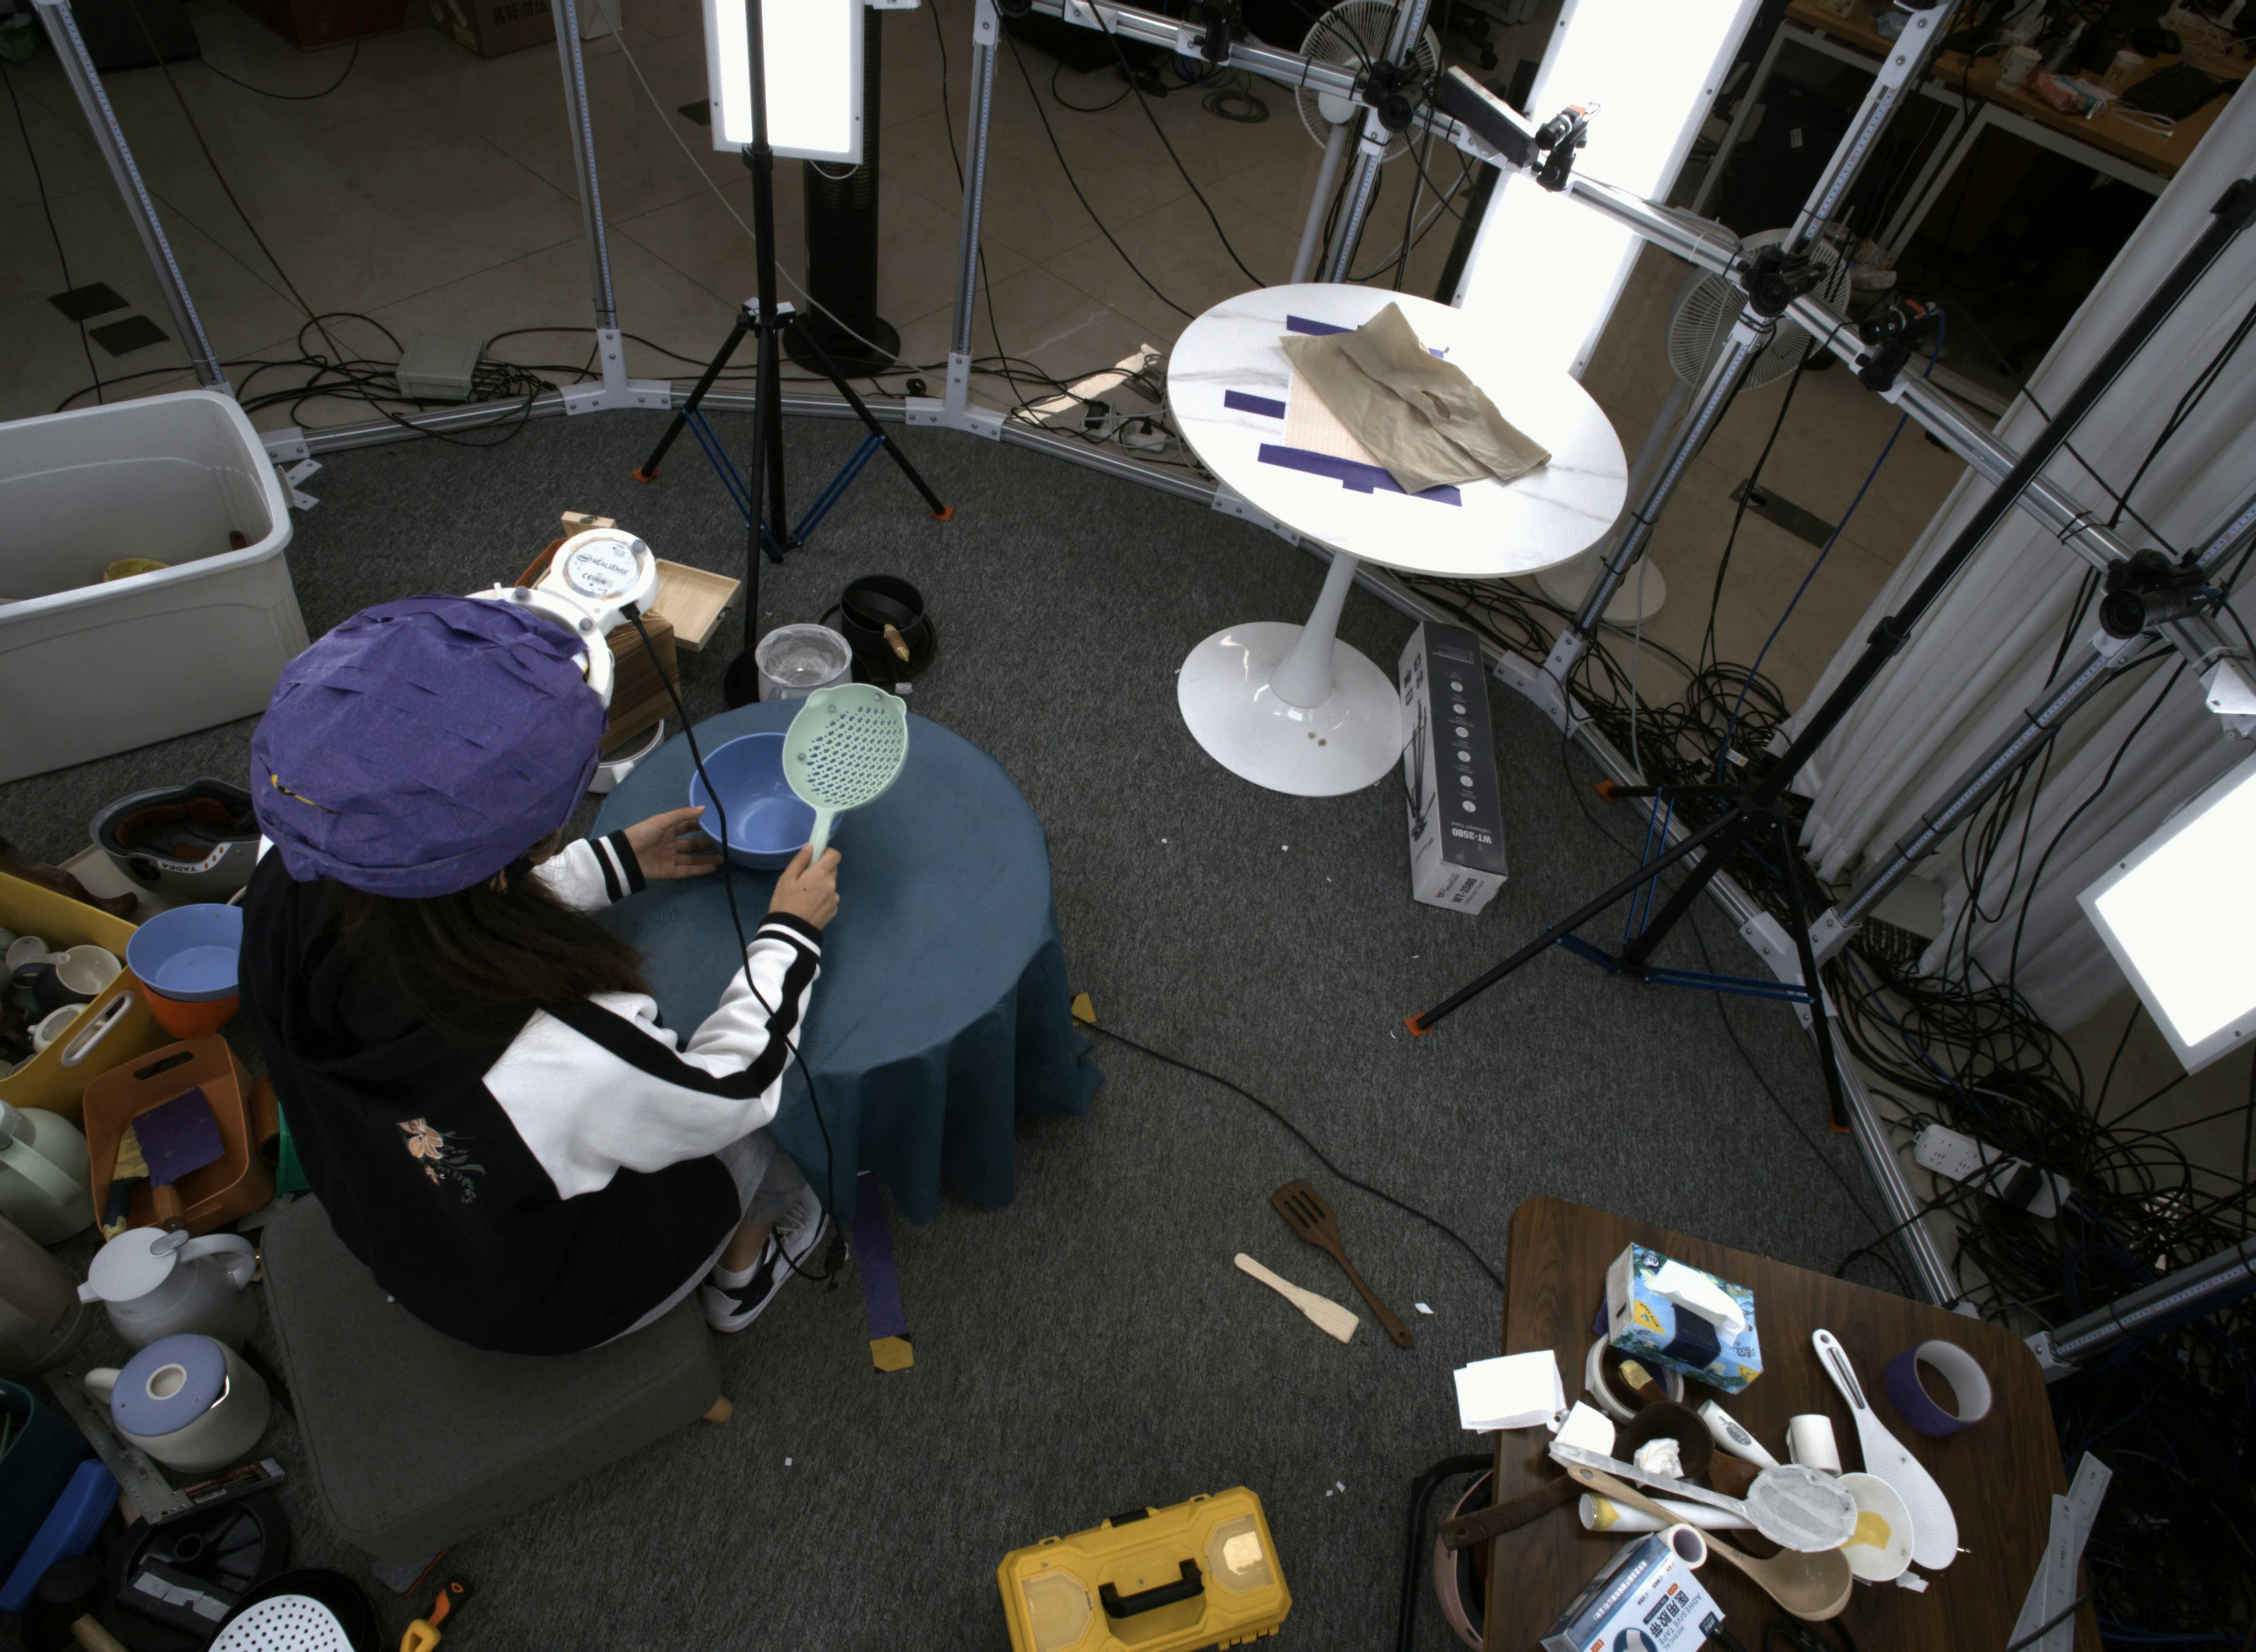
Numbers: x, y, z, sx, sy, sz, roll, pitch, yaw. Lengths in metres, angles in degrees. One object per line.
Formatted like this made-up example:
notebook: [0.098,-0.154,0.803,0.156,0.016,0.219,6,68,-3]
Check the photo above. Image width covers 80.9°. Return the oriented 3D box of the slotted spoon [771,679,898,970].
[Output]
slotted spoon: [-0.381,-0.006,1.590,0.165,0.077,0.357,8,67,16]

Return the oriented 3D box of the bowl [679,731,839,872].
bowl: [-0.470,-0.016,1.658,0.196,0.097,0.193,8,53,-9]
